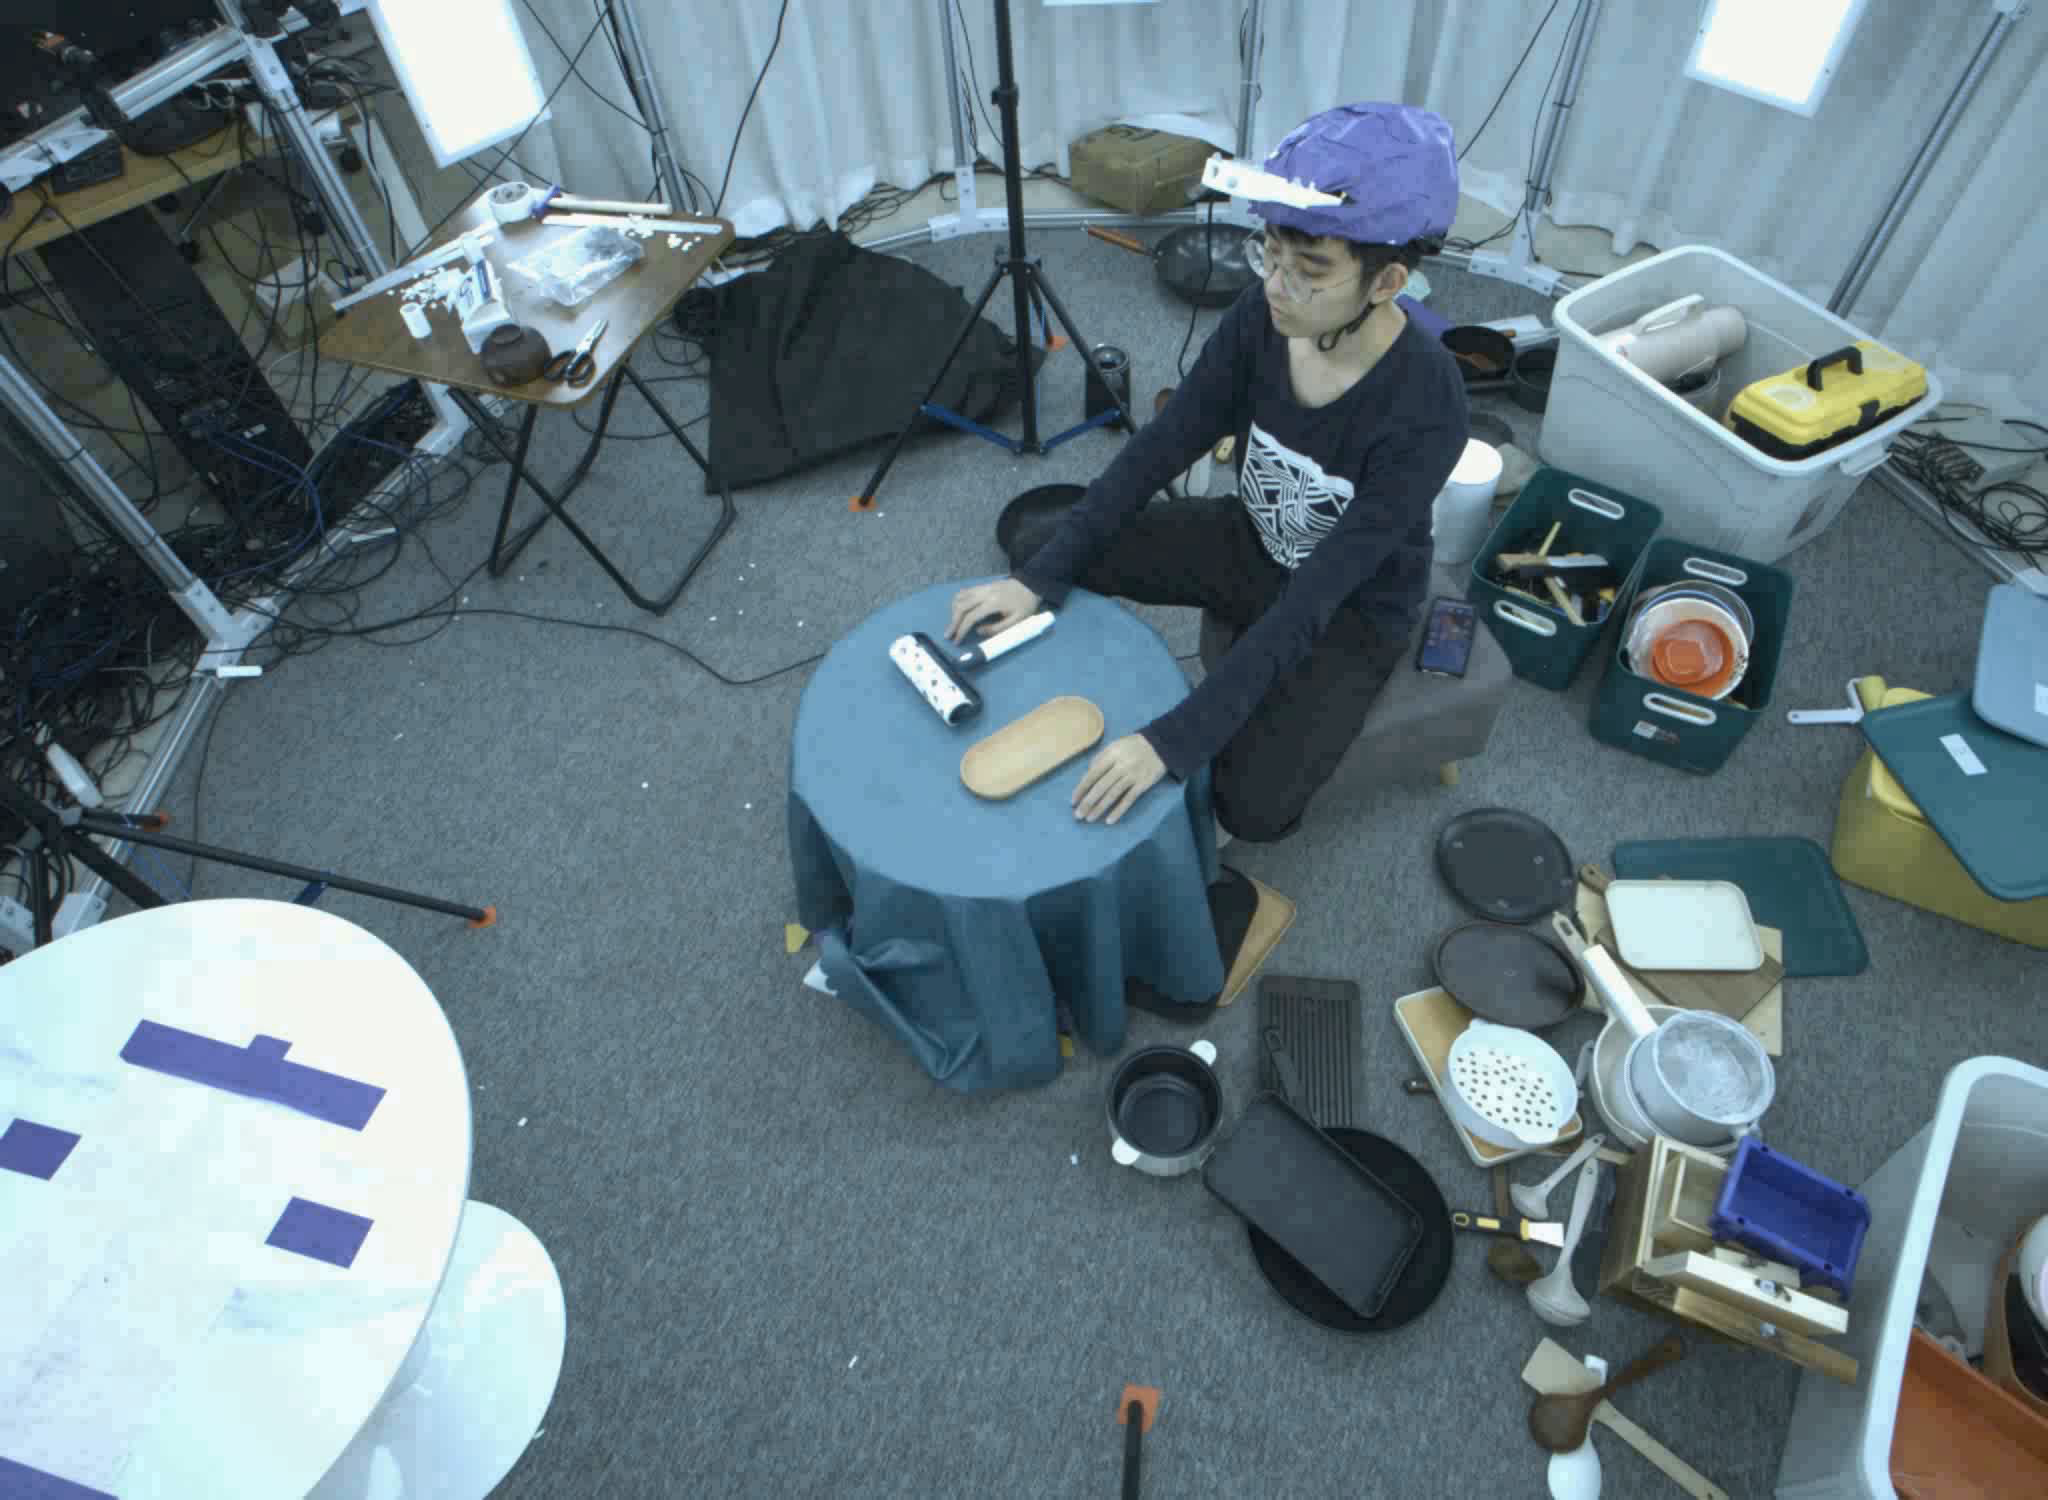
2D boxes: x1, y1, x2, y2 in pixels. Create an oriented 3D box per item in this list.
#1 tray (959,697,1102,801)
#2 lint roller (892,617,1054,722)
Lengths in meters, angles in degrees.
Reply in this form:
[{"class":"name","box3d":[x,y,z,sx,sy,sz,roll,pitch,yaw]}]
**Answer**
[{"class":"tray","box3d":[0.011,-0.002,1.786,0.233,0.020,0.100,-32,58,-19]},{"class":"lint roller","box3d":[-0.058,-0.153,1.882,0.249,0.051,0.173,-30,58,-22]}]
